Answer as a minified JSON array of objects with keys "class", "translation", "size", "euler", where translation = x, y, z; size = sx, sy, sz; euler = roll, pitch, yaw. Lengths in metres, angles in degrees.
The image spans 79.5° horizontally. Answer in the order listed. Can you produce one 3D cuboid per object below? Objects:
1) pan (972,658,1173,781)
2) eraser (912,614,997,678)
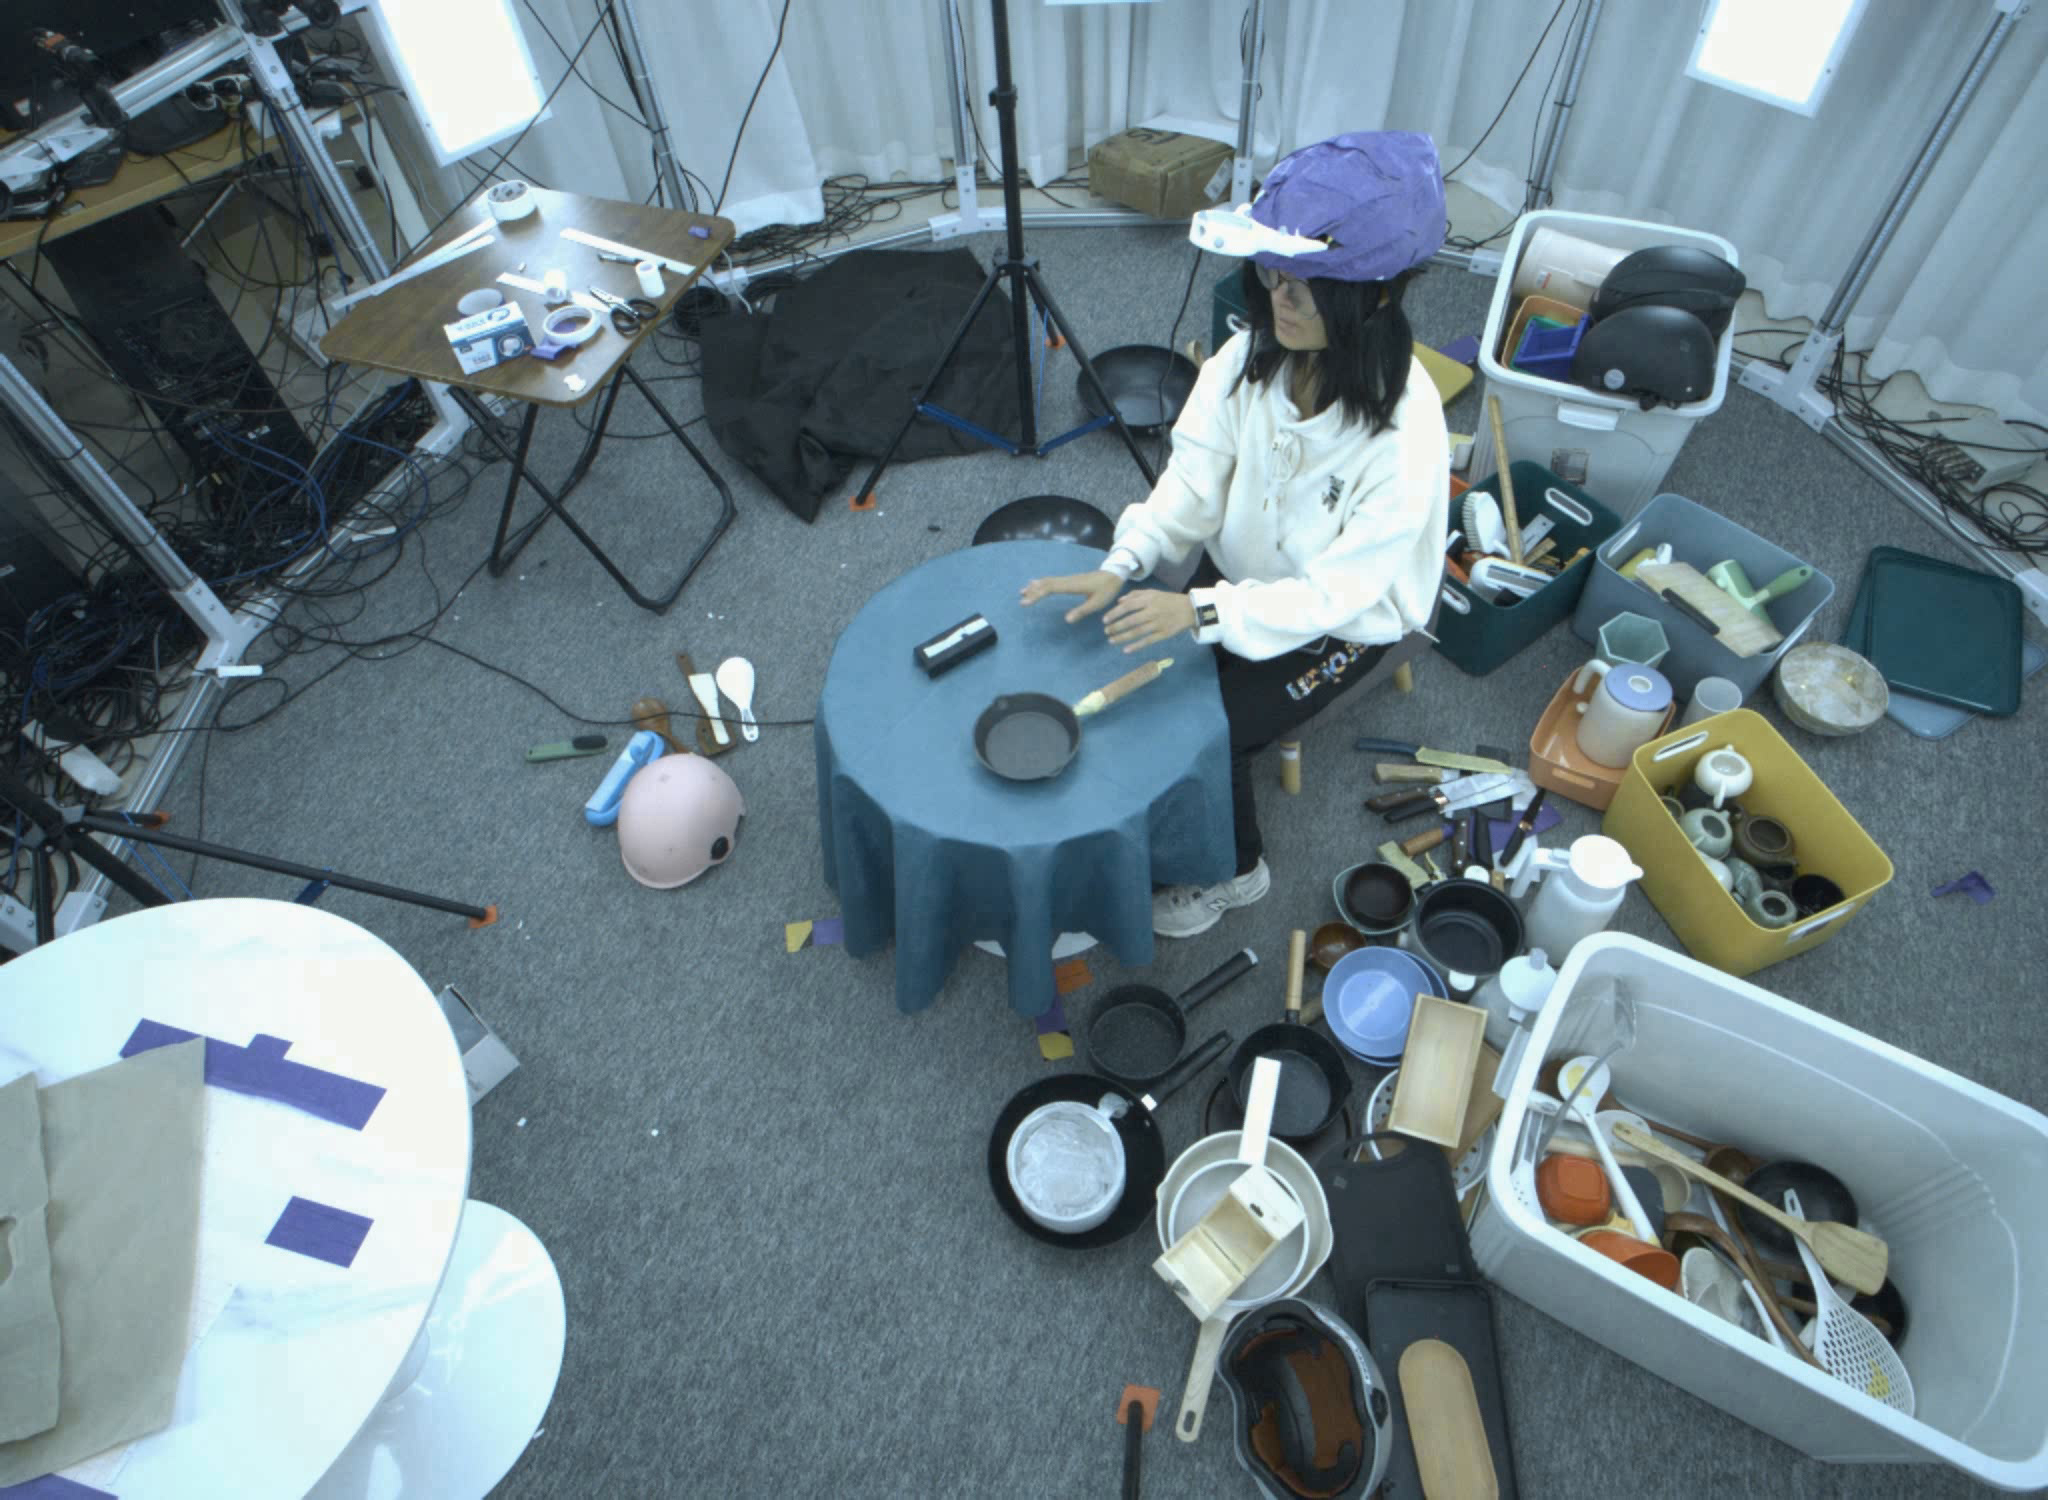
[{"class":"pan","translation":[0.079,-0.055,1.792],"size":[0.326,0.050,0.165],"euler":[-26,56,-14]},{"class":"eraser","translation":[-0.106,-0.160,1.888],"size":[0.126,0.031,0.052],"euler":[-30,60,-20]}]
